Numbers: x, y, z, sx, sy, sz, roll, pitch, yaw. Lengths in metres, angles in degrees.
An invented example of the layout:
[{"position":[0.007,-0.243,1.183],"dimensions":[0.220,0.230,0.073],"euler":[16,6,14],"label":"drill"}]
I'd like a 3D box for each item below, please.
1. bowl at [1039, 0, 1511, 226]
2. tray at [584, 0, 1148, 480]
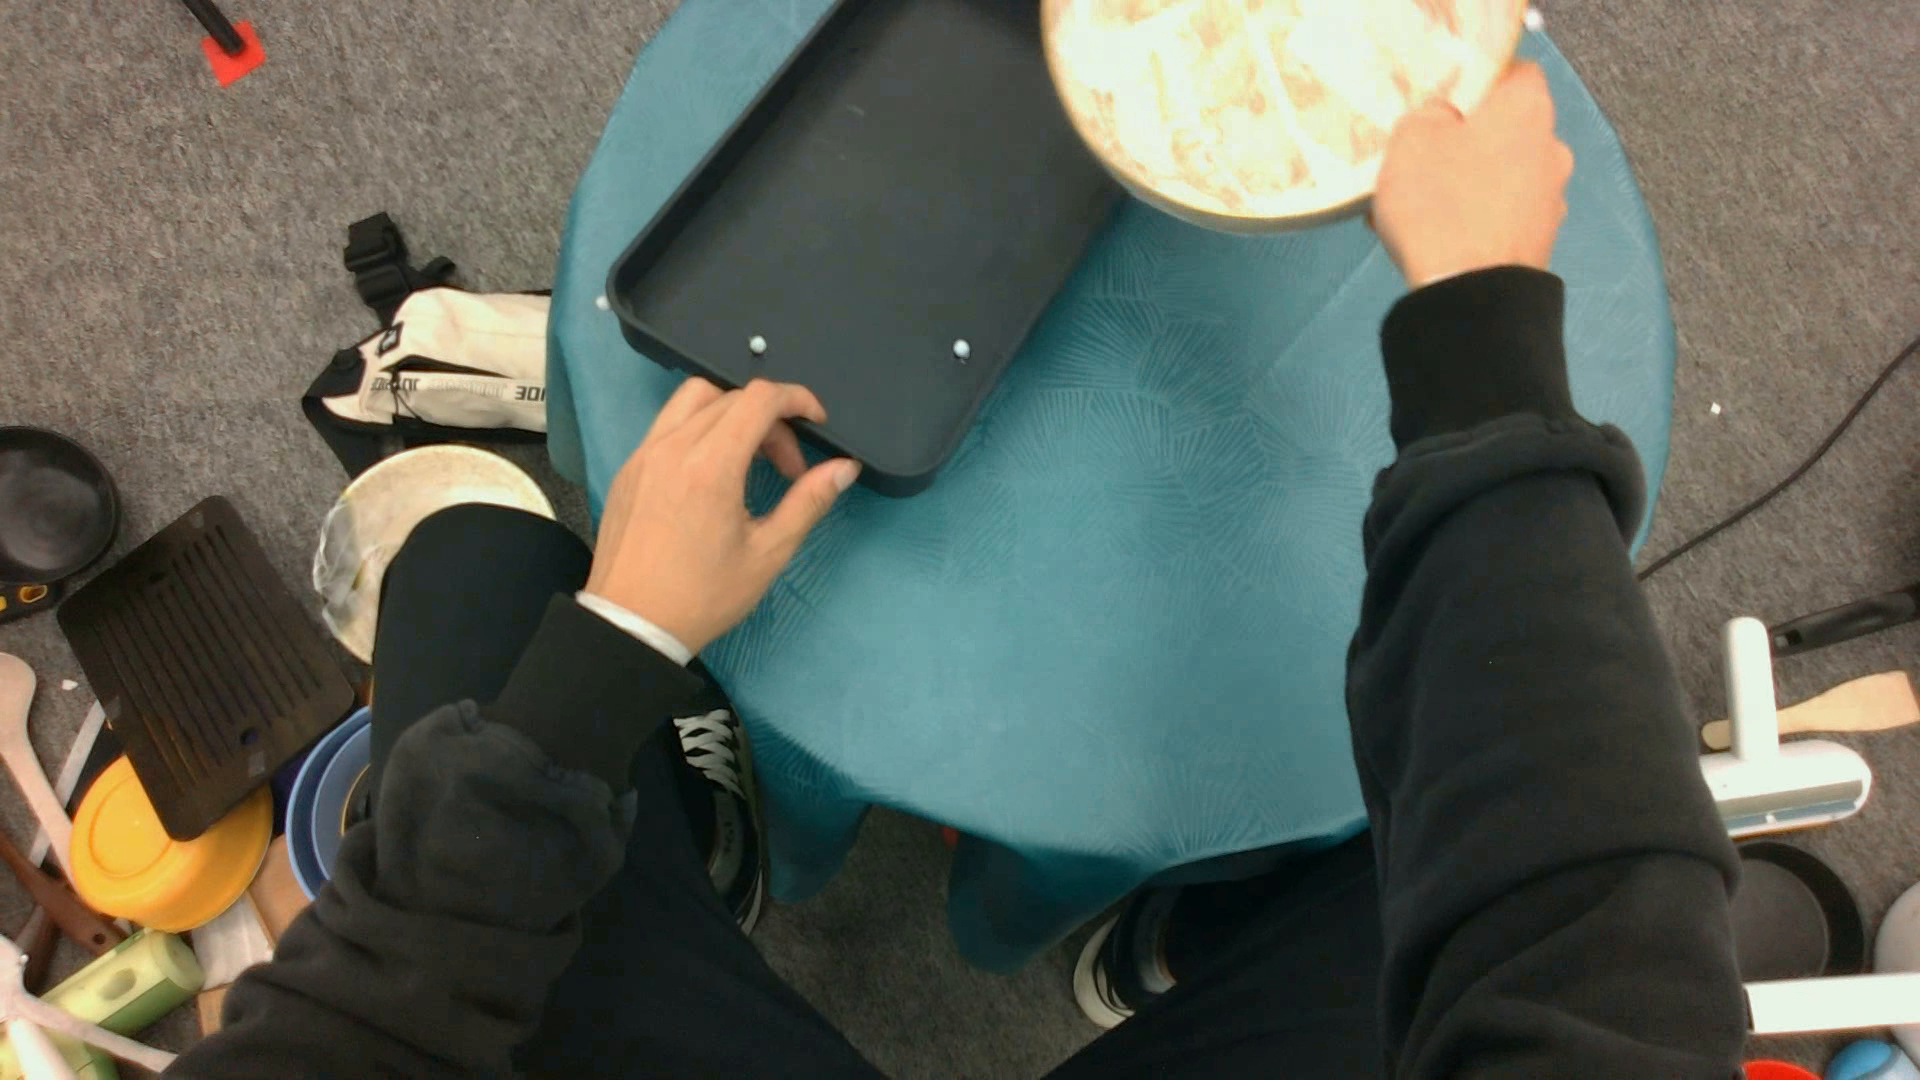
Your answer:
[{"position":[0.138,-0.232,0.639],"dimensions":[0.214,0.094,0.215],"euler":[-1,82,8],"label":"bowl"},{"position":[-0.029,-0.192,0.711],"dimensions":[0.184,0.037,0.319],"euler":[32,66,5],"label":"tray"}]
